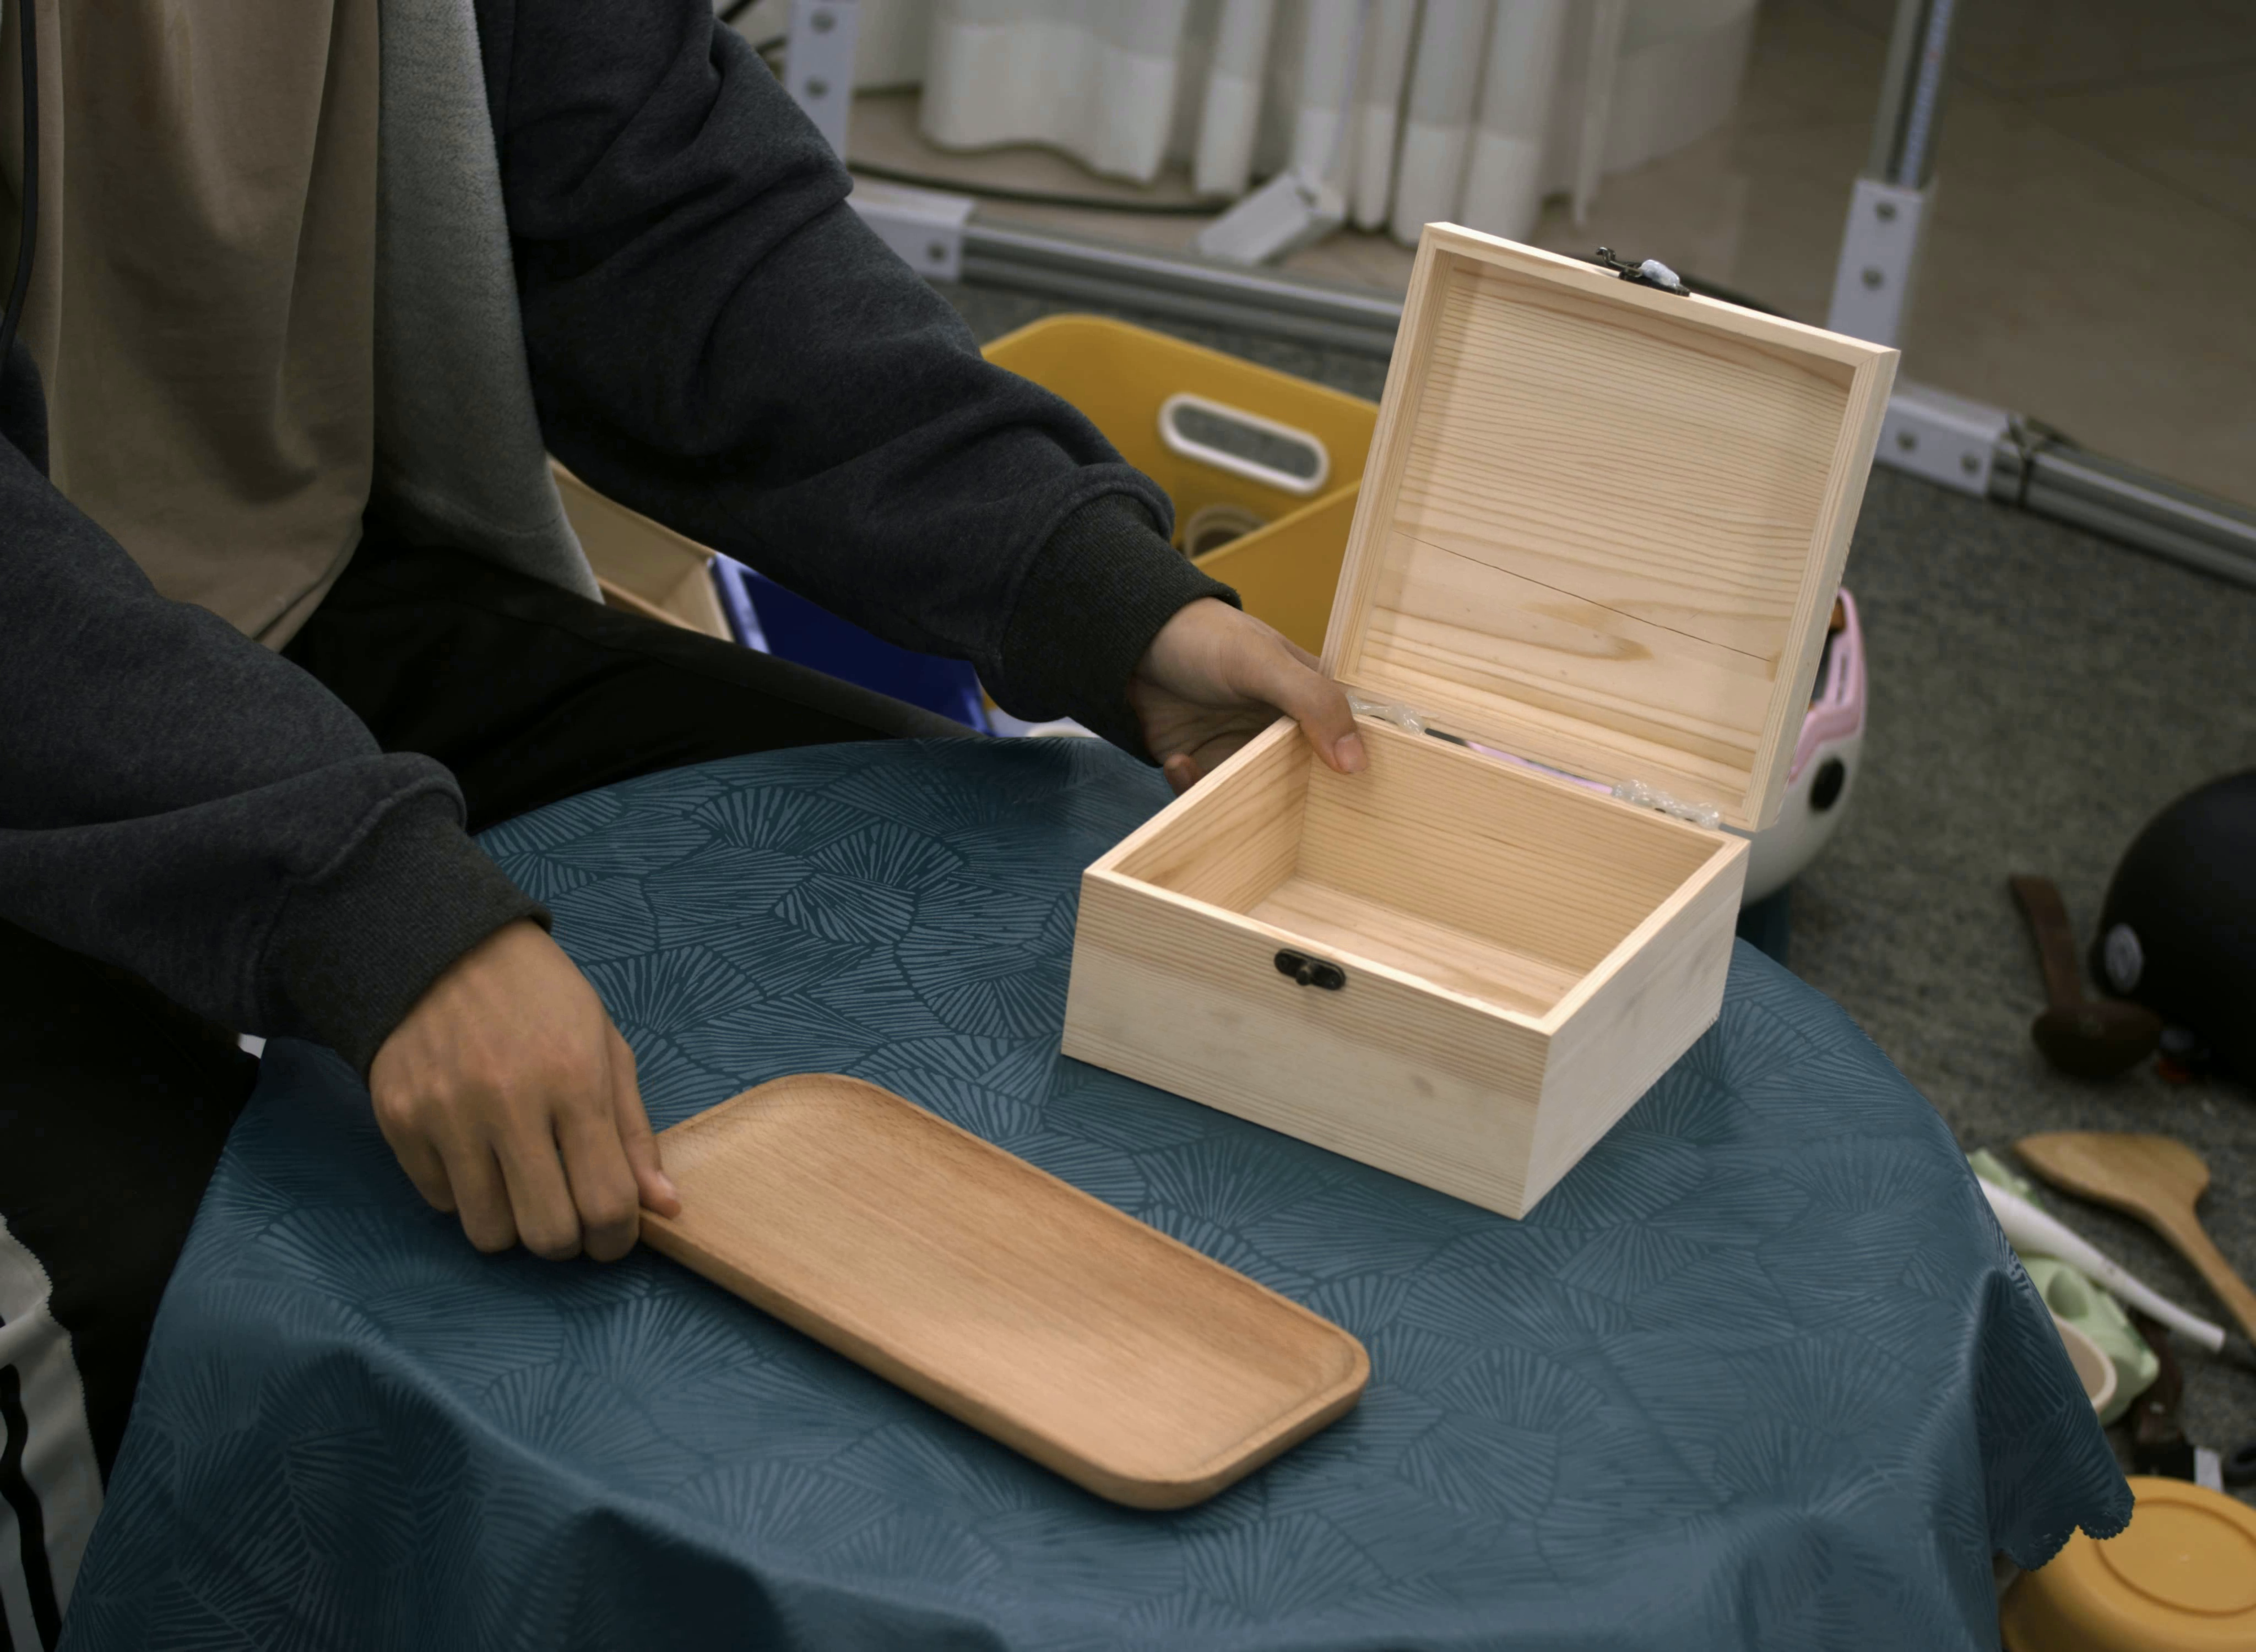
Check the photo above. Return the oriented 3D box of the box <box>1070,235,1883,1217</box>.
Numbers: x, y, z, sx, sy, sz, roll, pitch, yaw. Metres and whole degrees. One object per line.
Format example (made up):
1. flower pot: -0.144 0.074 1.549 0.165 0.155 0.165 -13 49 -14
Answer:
1. box: 0.124 -0.045 1.893 0.182 0.252 0.265 16 27 23

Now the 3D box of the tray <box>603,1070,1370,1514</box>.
1. tray: -0.048 0.148 1.720 0.252 0.023 0.130 25 29 32
